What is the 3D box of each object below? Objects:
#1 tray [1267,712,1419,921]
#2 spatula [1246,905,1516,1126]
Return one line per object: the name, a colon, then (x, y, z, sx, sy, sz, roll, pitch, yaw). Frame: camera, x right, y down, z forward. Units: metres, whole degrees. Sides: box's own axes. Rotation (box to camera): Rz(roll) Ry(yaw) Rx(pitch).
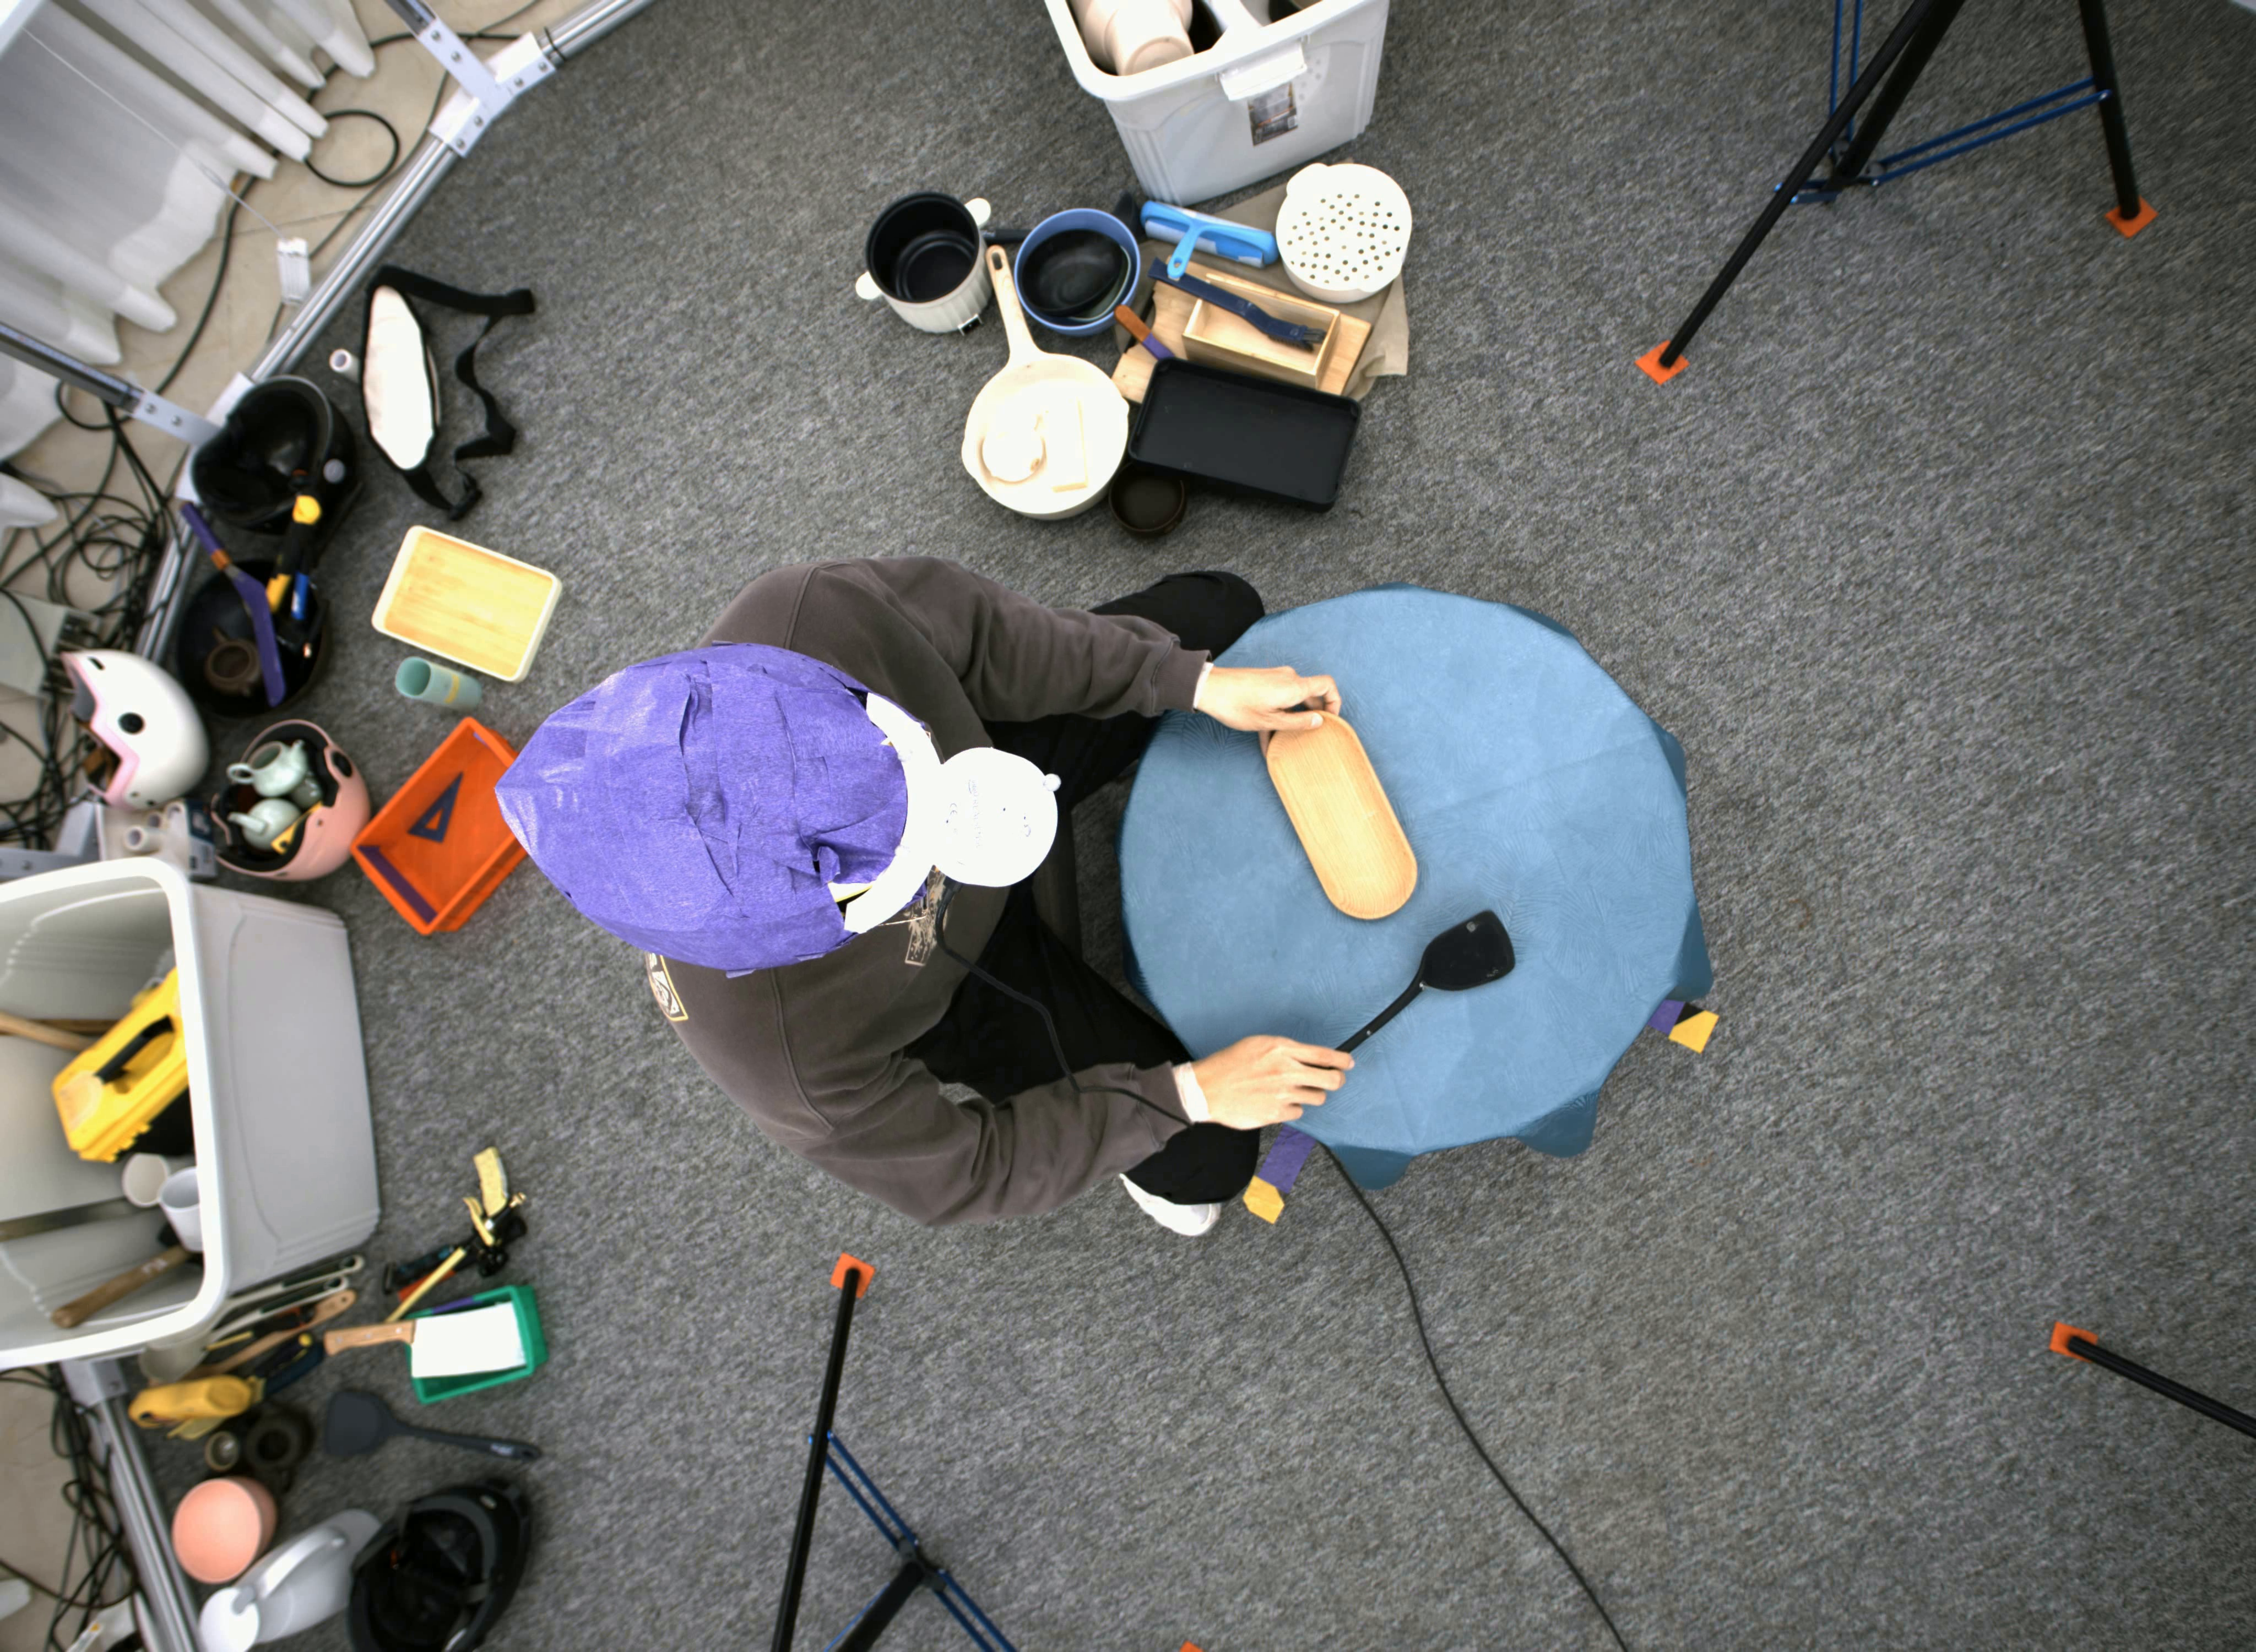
tray: (0.225, -0.012, 1.447, 0.103, 0.020, 0.231, -26, 90, 18)
spatula: (0.250, 0.200, 1.391, 0.324, 0.040, 0.101, -39, 122, -6)
